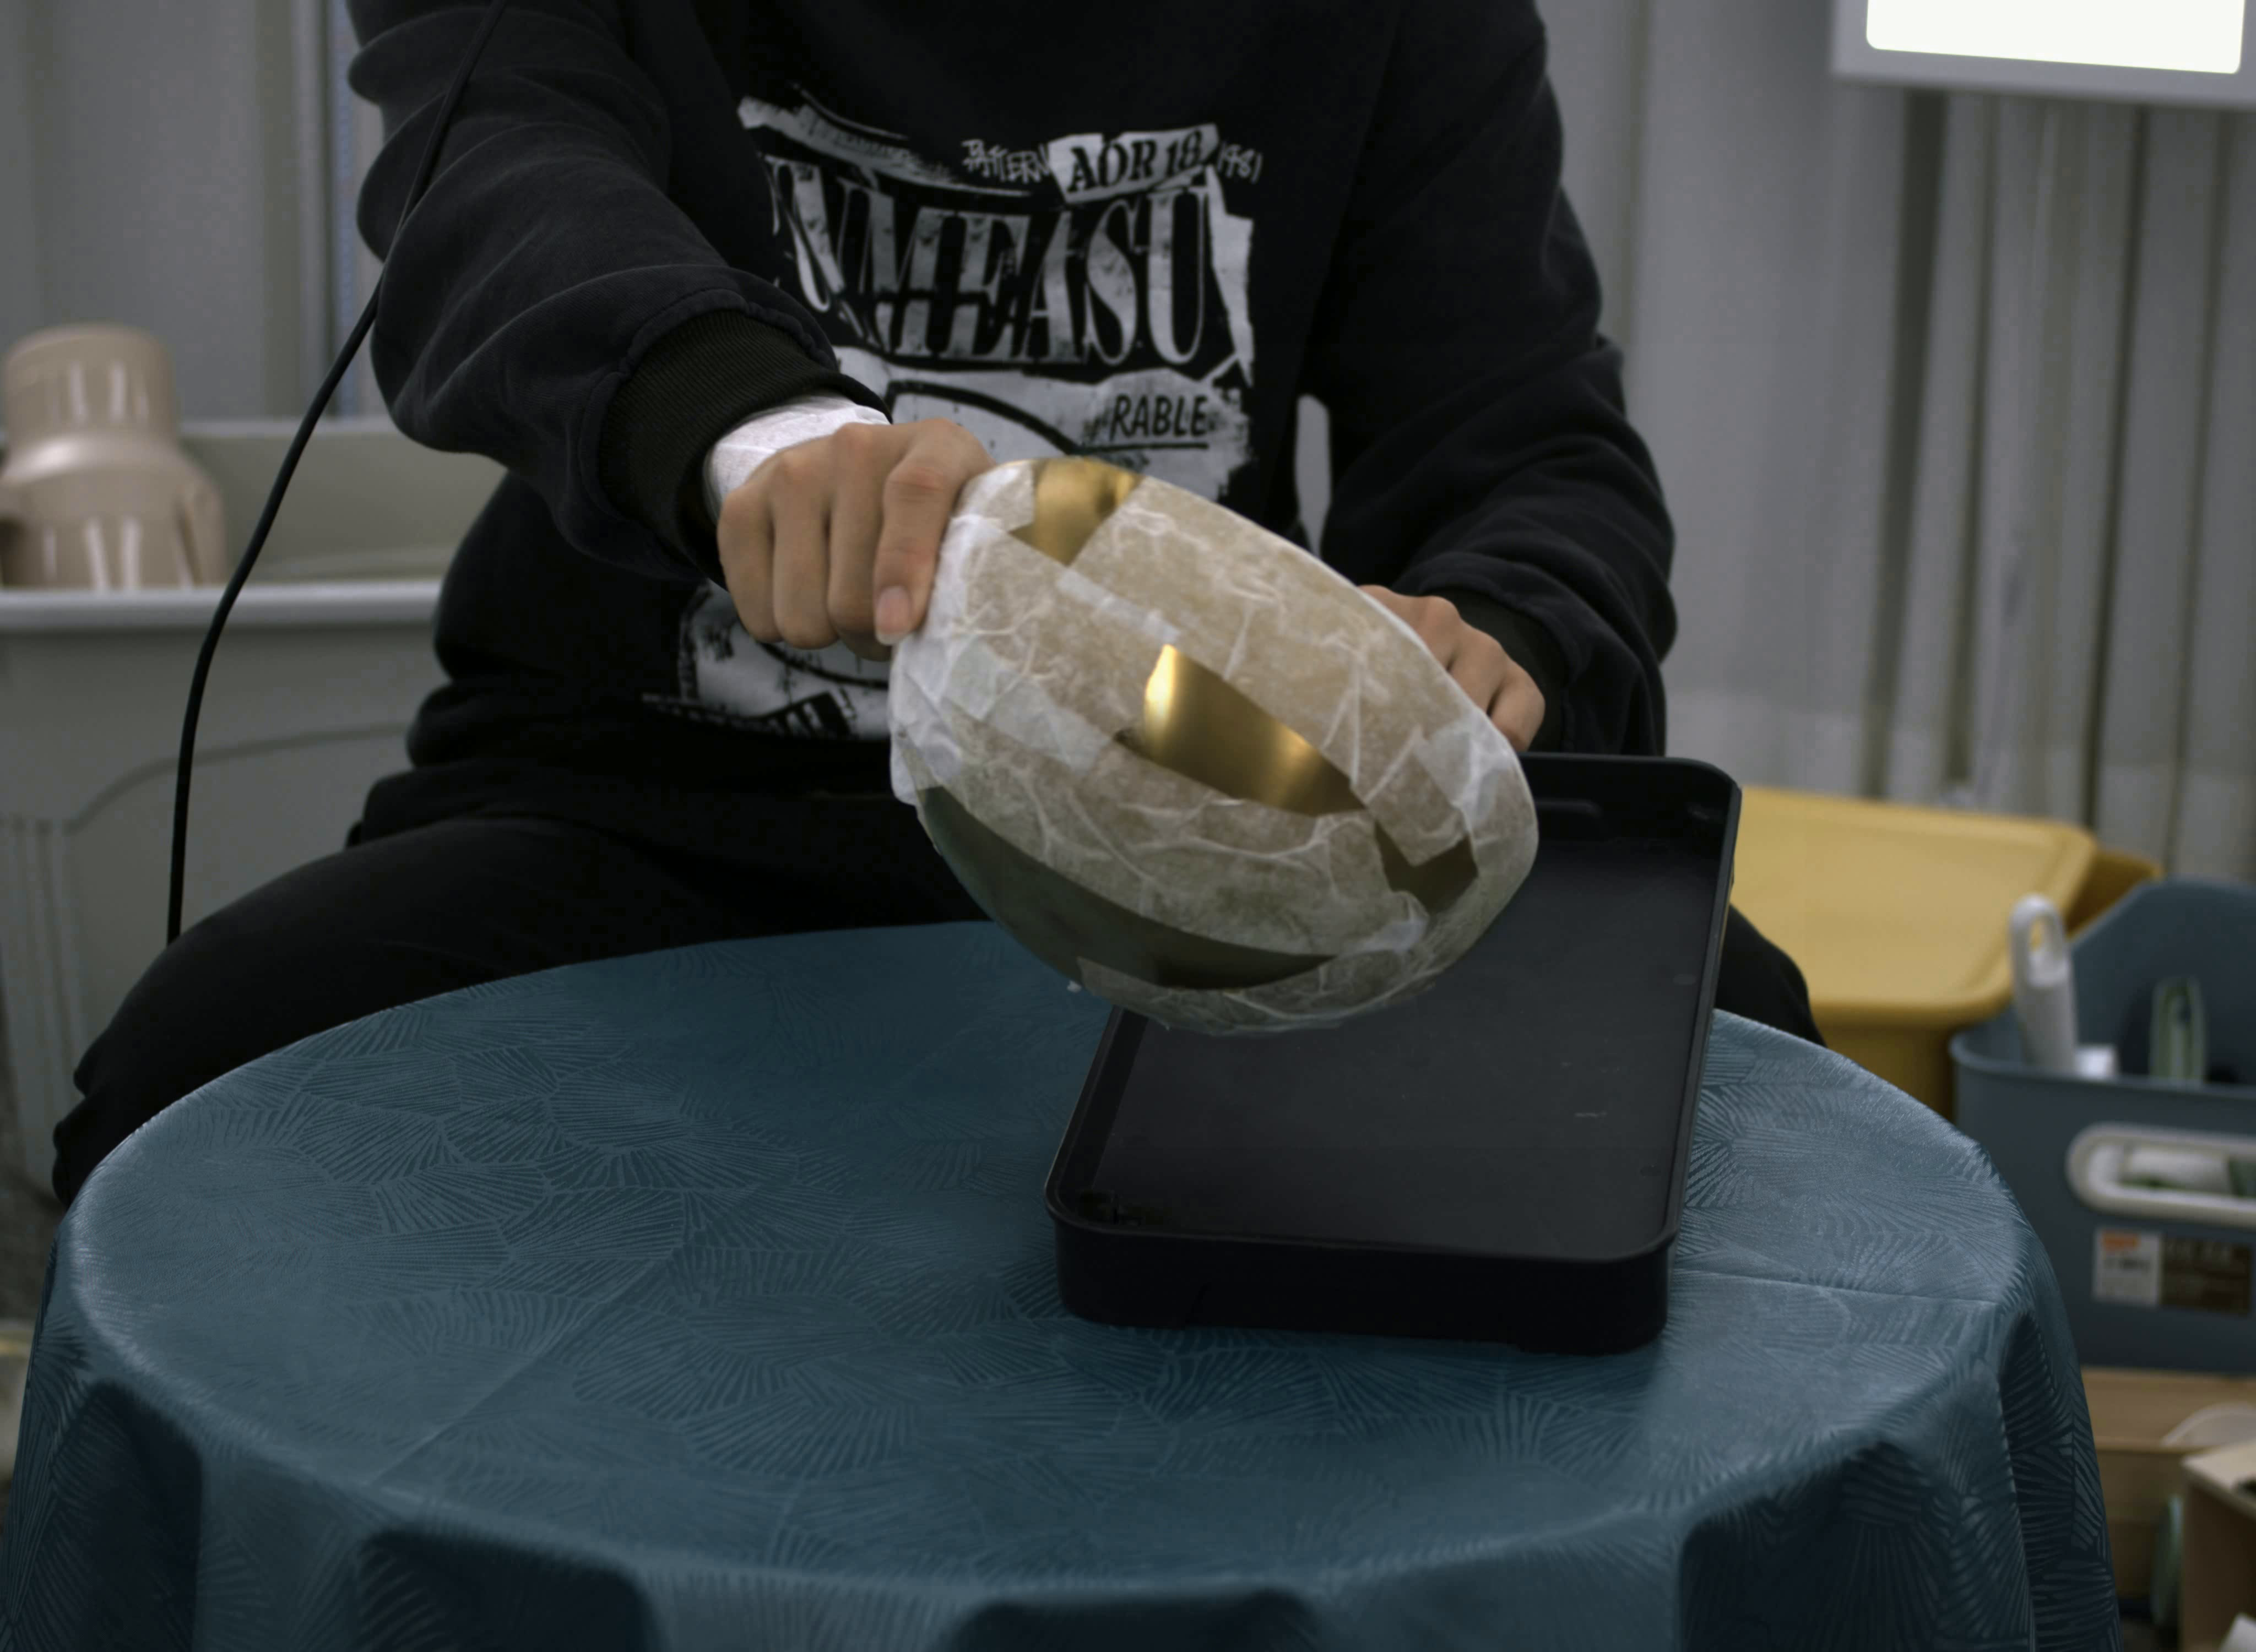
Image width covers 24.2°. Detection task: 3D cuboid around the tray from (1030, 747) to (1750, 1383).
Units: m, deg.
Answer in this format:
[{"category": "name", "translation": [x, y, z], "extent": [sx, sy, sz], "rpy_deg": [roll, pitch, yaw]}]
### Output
[{"category": "tray", "translation": [0.088, 0.064, 1.633], "extent": [0.183, 0.037, 0.316], "rpy_deg": [5, 30, 10]}]

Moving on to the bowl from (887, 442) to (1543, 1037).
[{"category": "bowl", "translation": [0.008, -0.004, 1.496], "extent": [0.212, 0.218, 0.094], "rpy_deg": [15, 62, 39]}]
